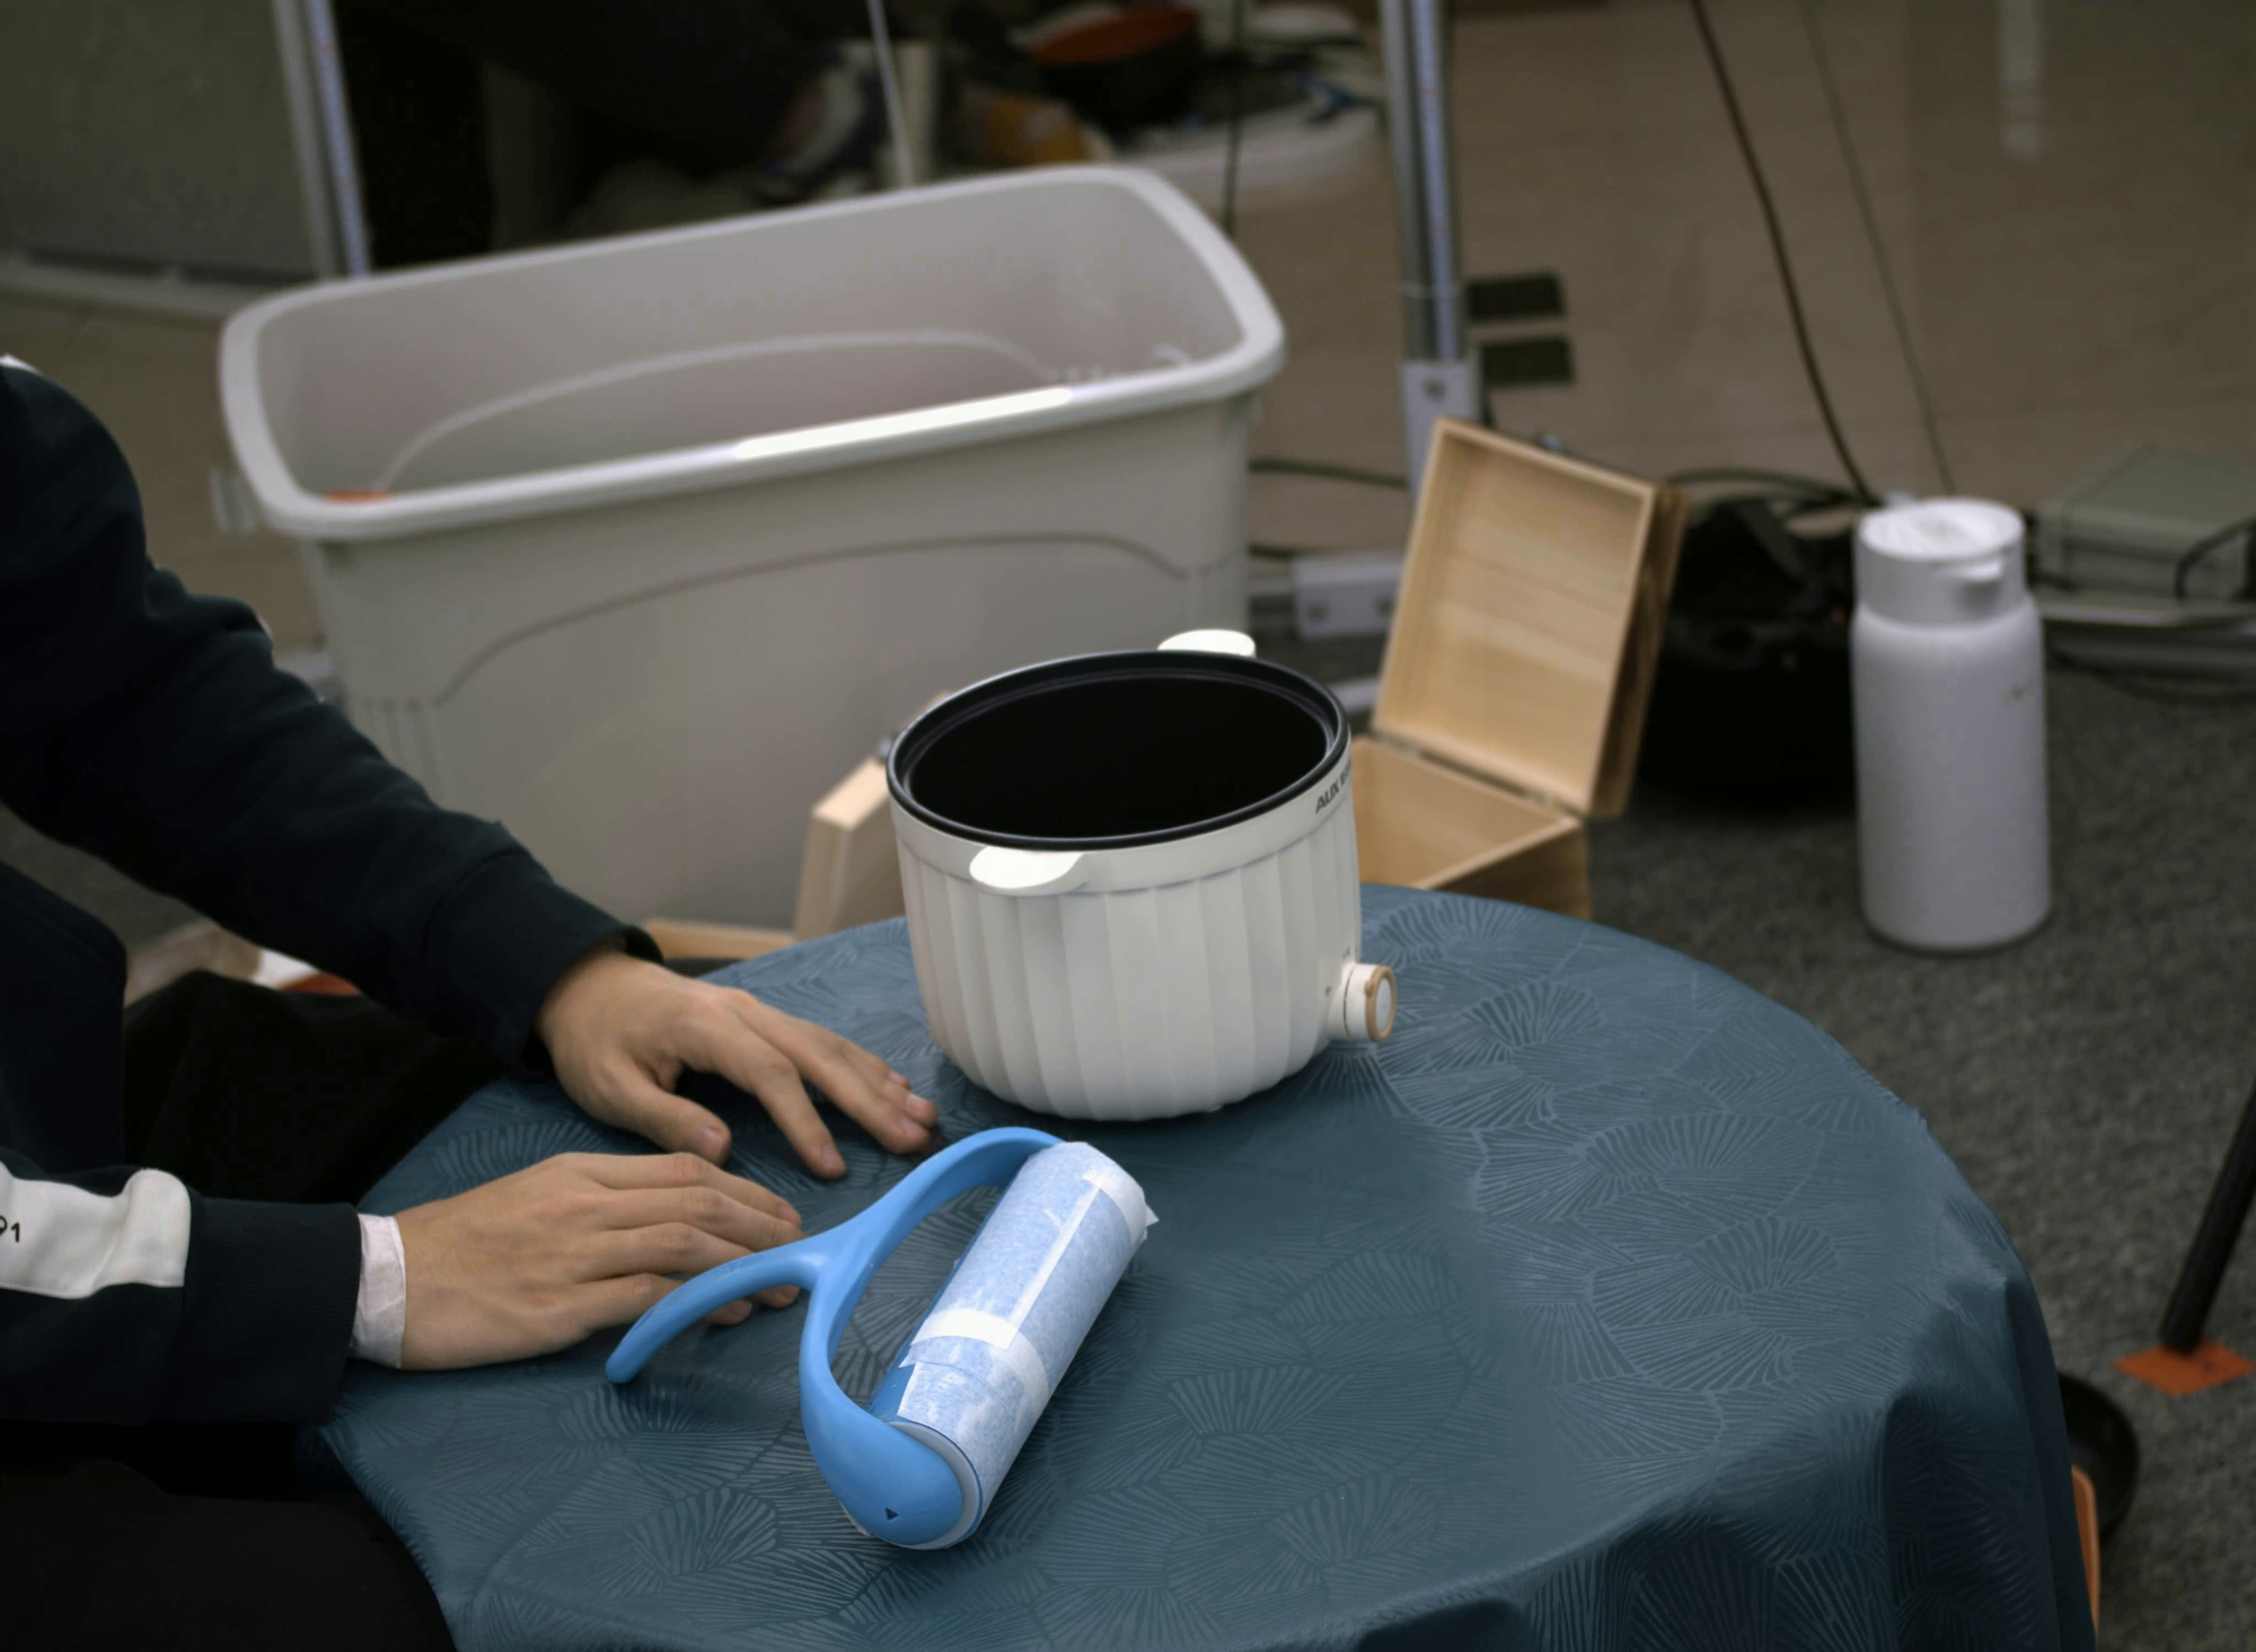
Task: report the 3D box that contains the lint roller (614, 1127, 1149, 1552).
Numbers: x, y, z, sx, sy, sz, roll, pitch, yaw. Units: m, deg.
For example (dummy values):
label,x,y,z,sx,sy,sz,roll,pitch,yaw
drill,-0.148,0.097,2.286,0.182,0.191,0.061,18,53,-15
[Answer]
label,x,y,z,sx,sy,sz,roll,pitch,yaw
lint roller,-0.102,0.179,2.017,0.180,0.069,0.225,2,28,15

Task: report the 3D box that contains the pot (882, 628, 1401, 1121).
label,x,y,z,sx,sy,sz,roll,pitch,yaw
pot,0.008,0.027,2.216,0.190,0.145,0.237,1,27,22
